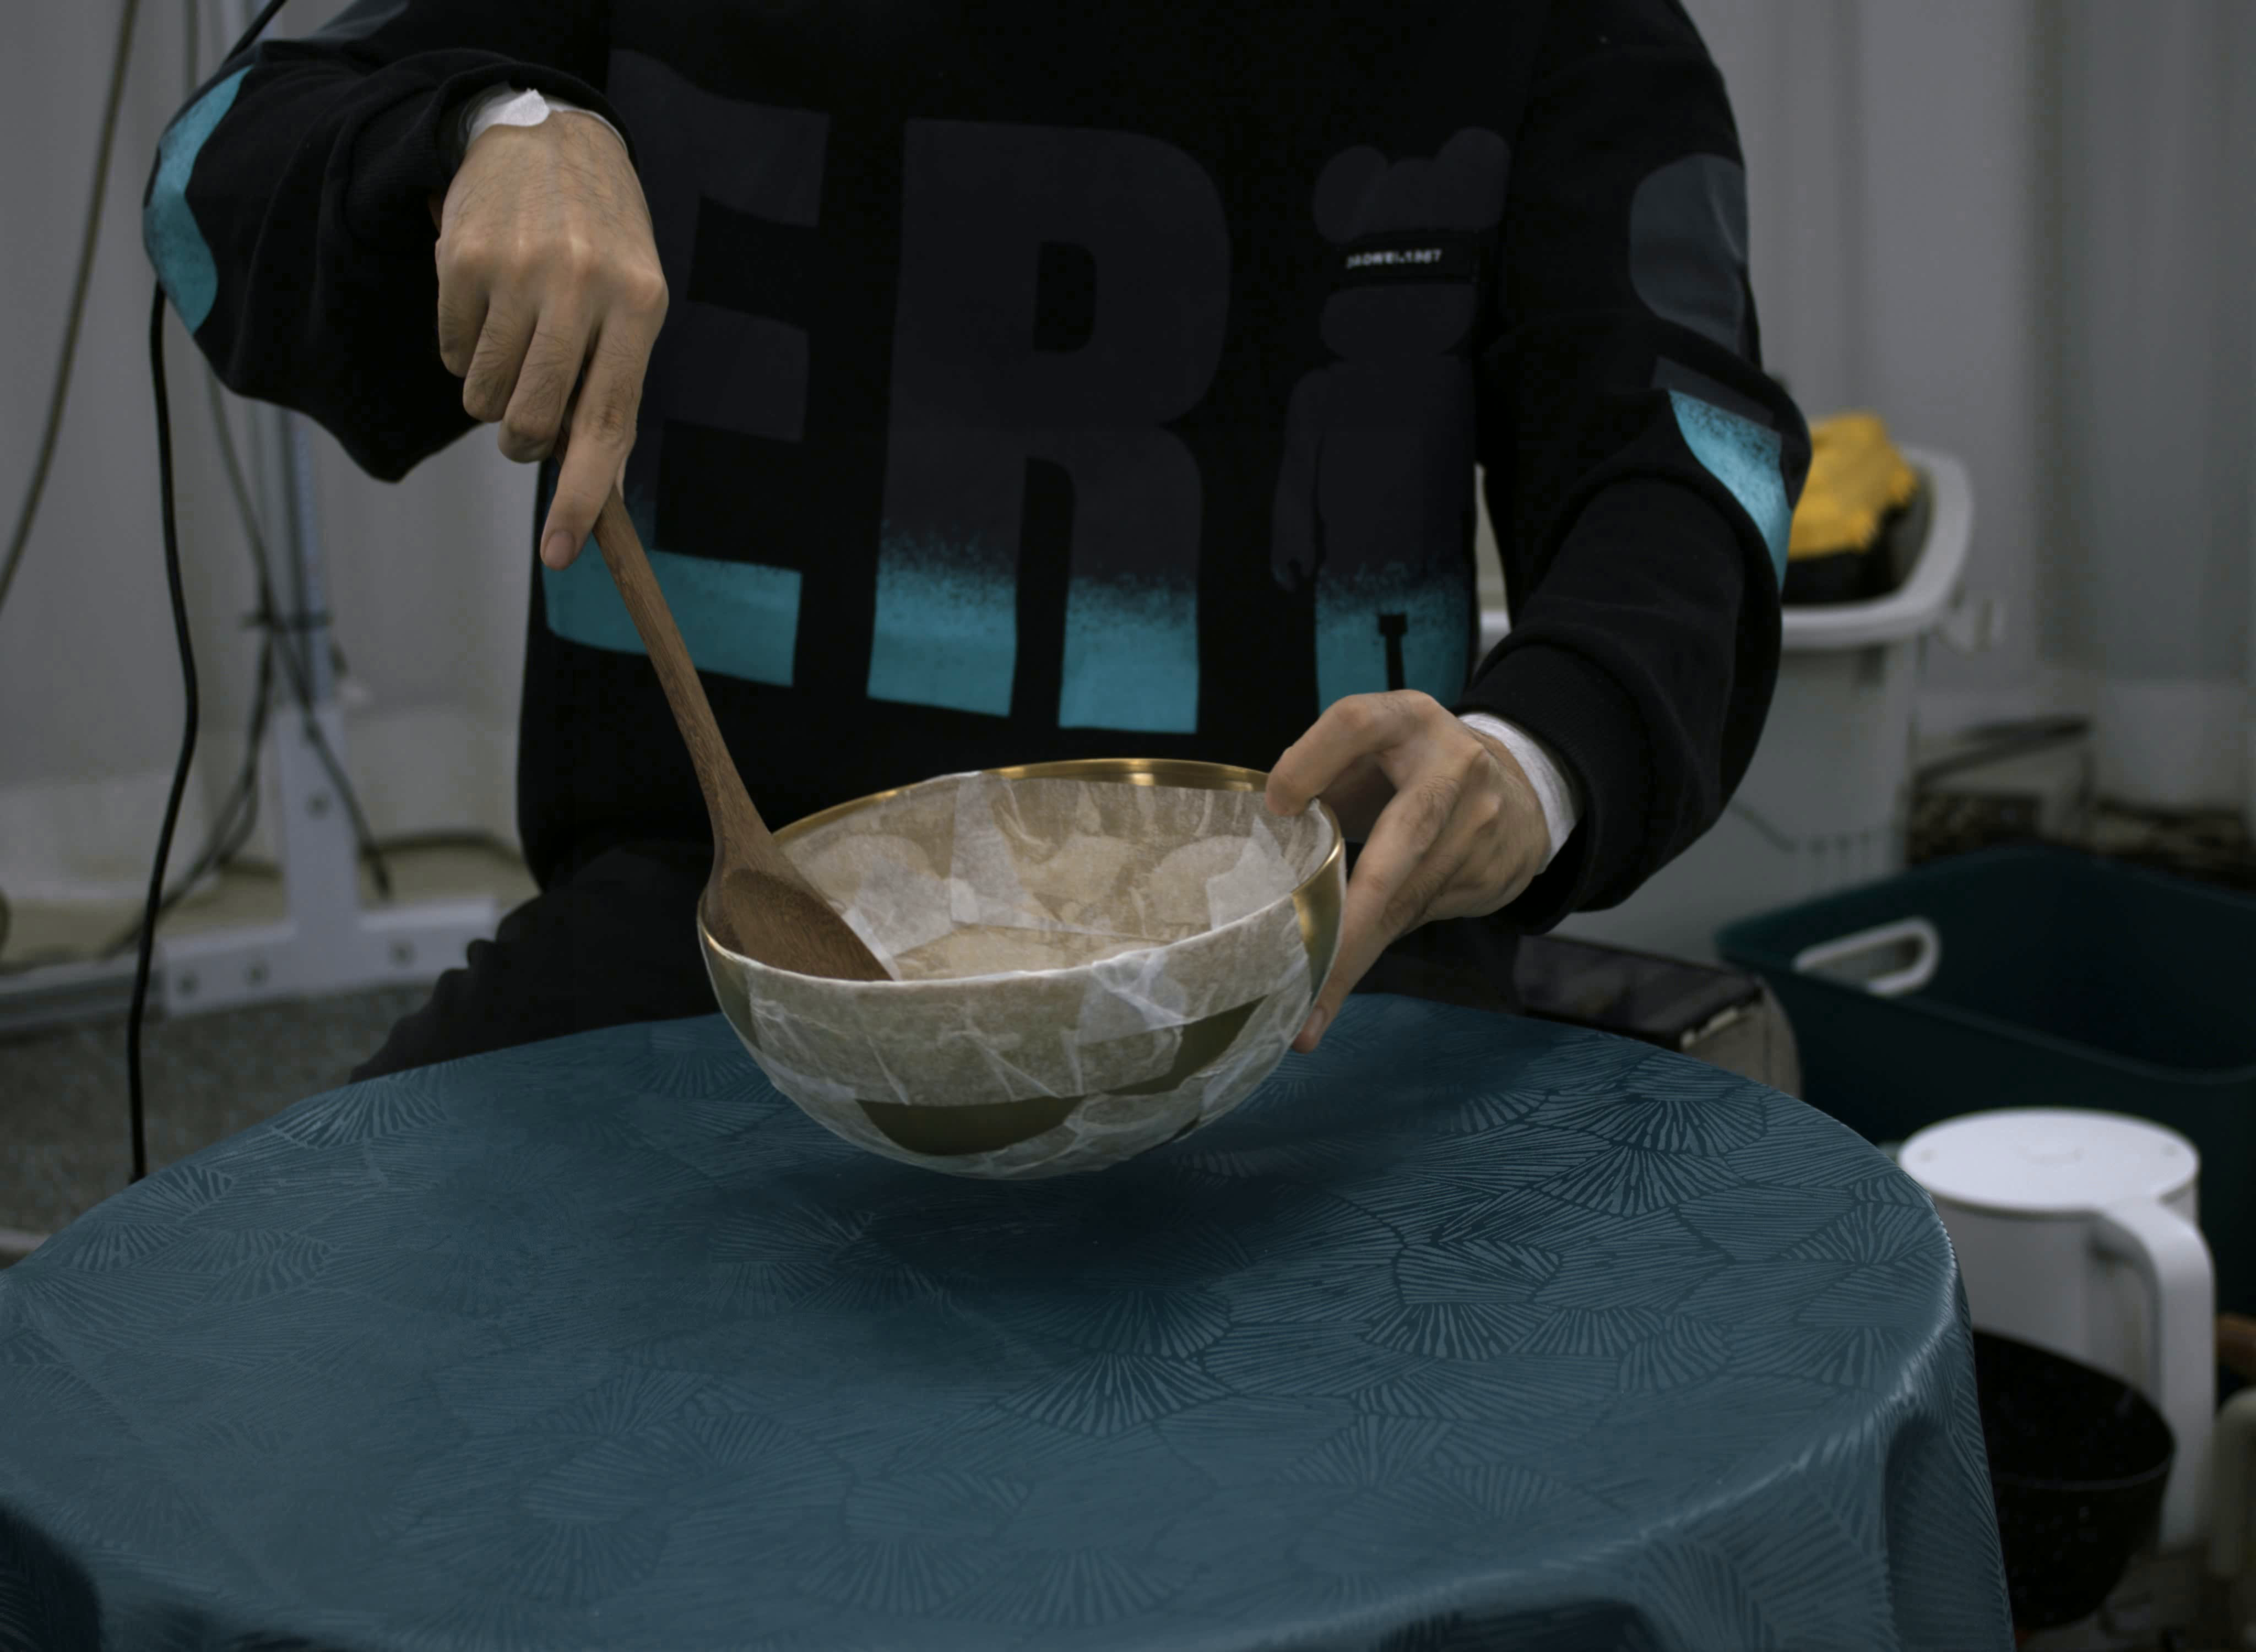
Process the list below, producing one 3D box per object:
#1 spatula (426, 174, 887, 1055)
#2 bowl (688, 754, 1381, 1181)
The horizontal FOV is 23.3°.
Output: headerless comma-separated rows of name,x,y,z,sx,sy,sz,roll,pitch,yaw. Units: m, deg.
spatula,-0.151,-0.067,1.742,0.016,0.391,0.095,-37,-31,18
bowl,-0.024,0.052,1.682,0.214,0.094,0.216,-8,16,2
